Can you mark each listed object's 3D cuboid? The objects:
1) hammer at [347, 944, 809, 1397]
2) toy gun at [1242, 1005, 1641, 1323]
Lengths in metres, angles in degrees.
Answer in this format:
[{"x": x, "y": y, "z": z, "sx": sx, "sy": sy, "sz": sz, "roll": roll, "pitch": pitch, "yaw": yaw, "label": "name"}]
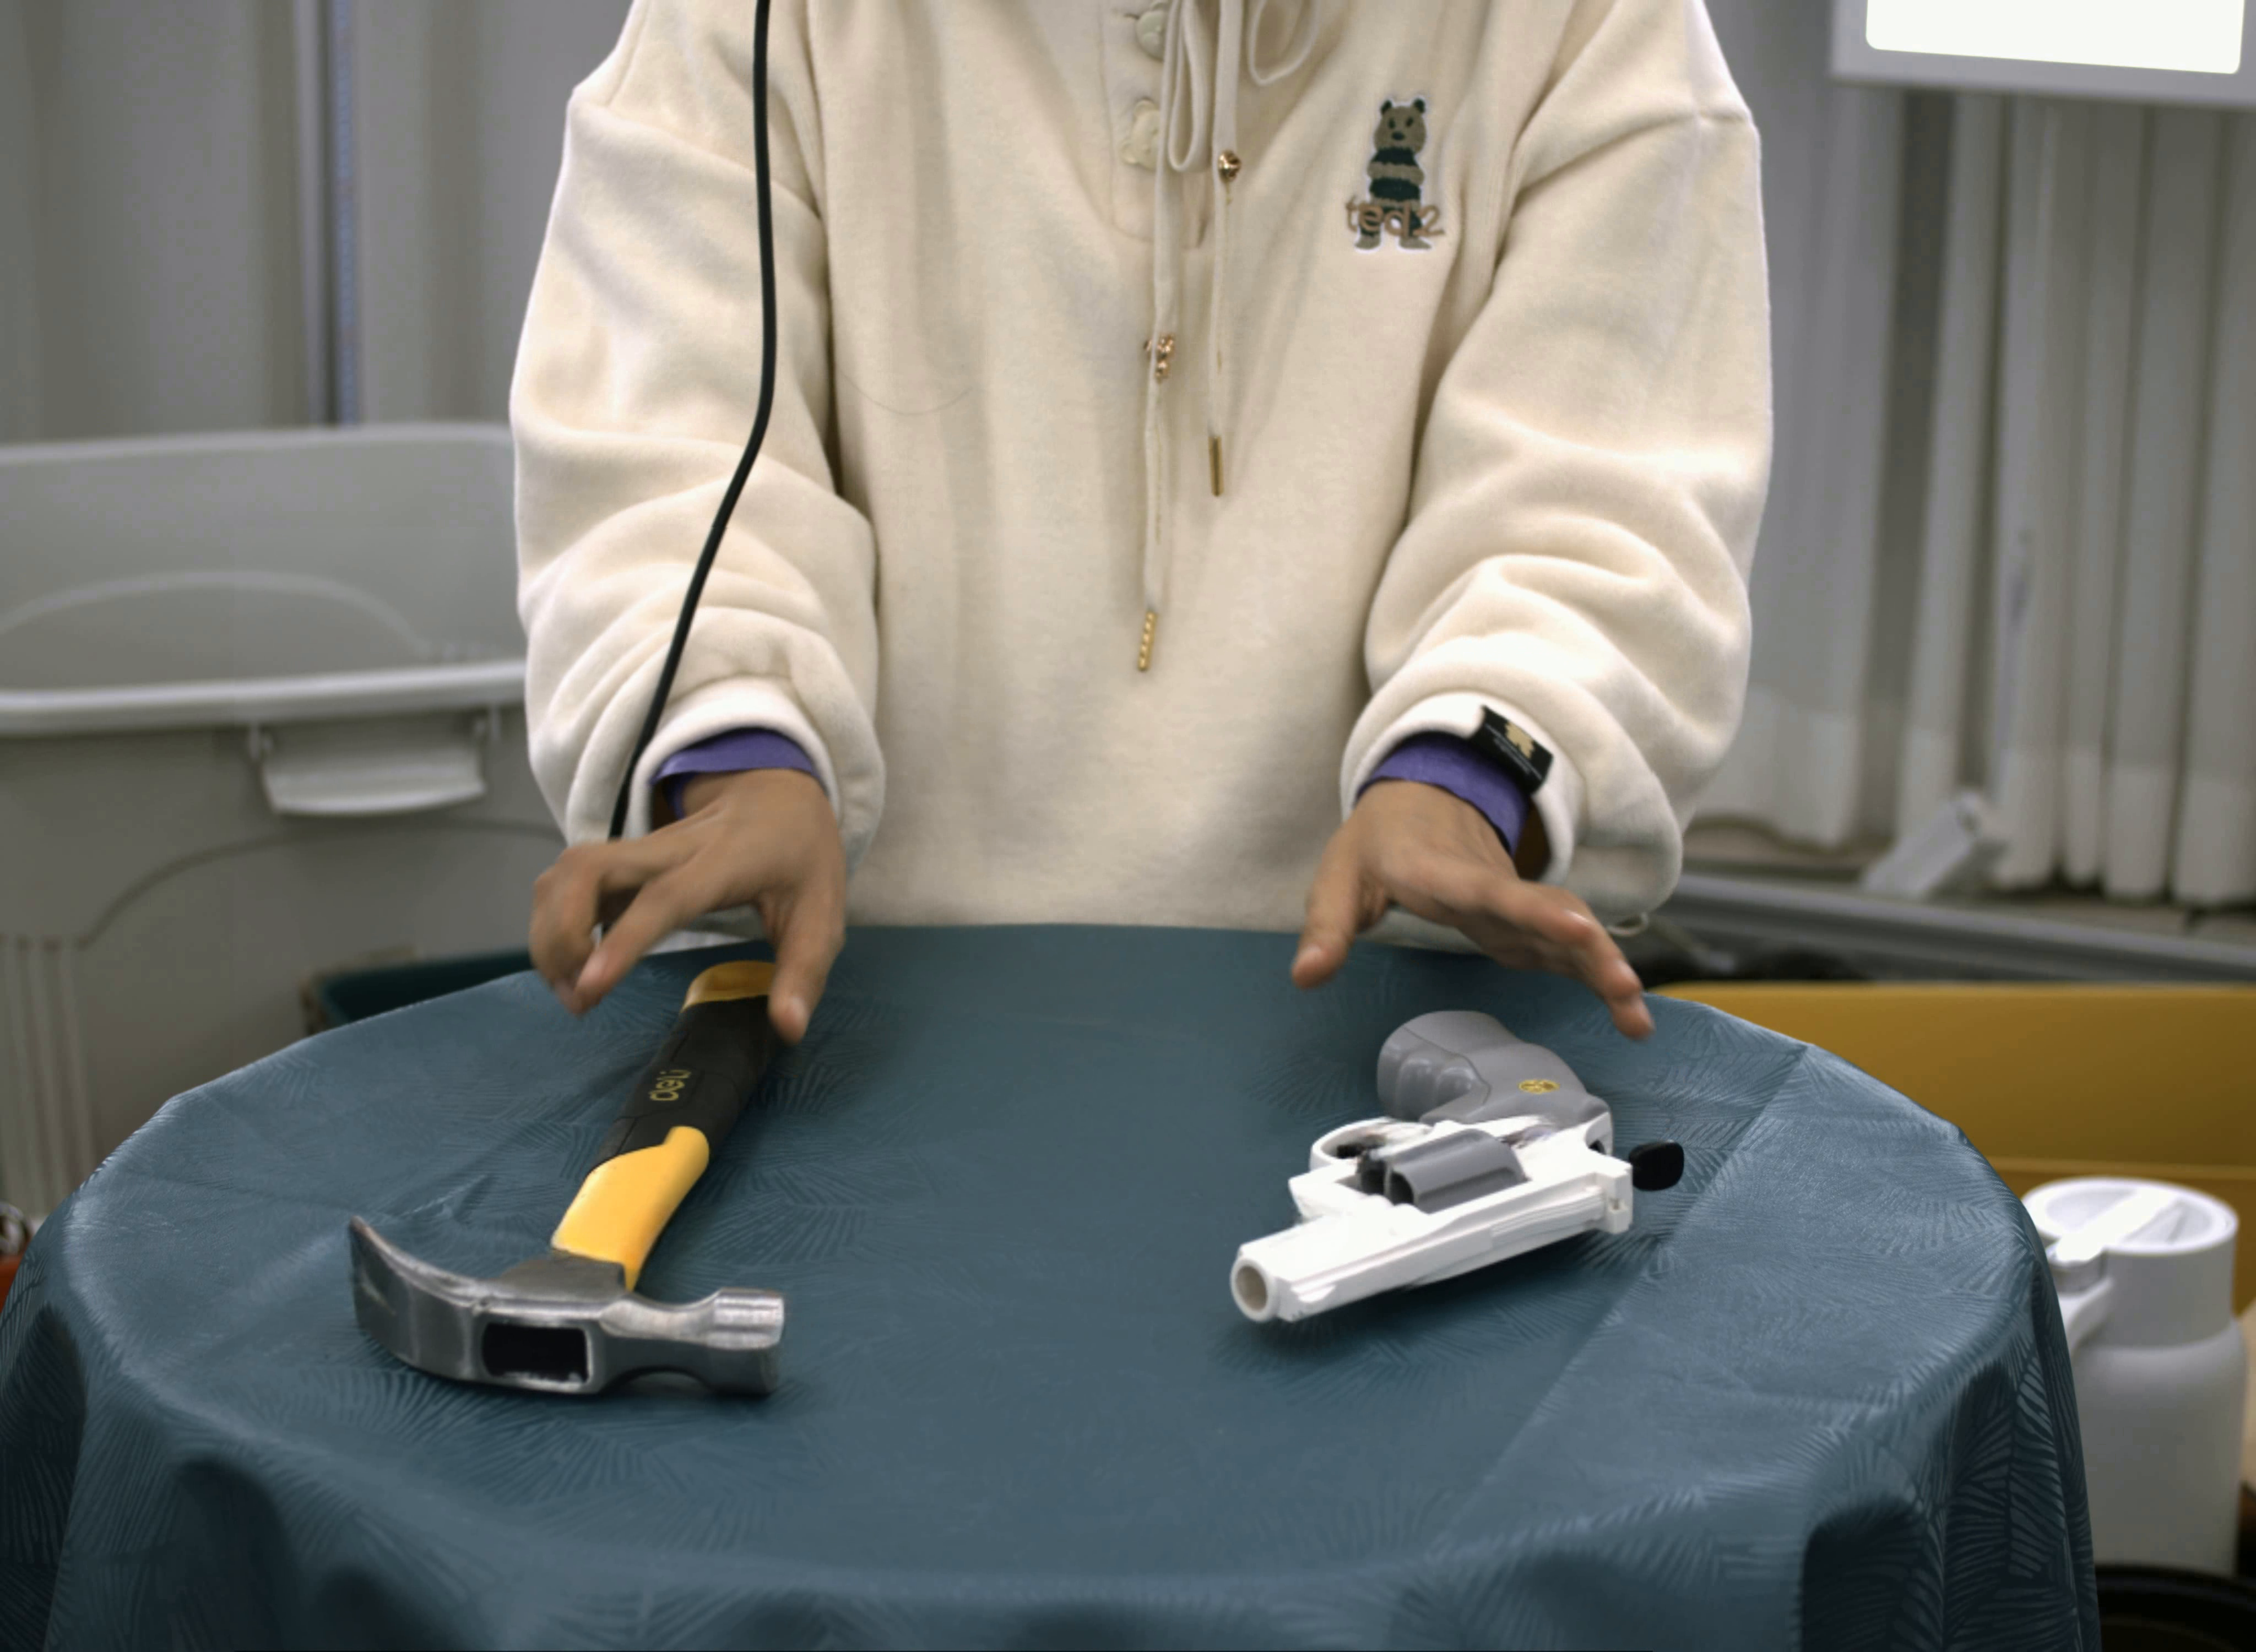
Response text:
[{"x": -0.144, "y": 0.097, "z": 1.603, "sx": 0.131, "sy": 0.032, "sz": 0.337, "roll": 0, "pitch": 16, "yaw": 7, "label": "hammer"}, {"x": 0.083, "y": 0.102, "z": 1.588, "sx": 0.210, "sy": 0.039, "sz": 0.139, "roll": -13, "pitch": 22, "yaw": -41, "label": "toy gun"}]
